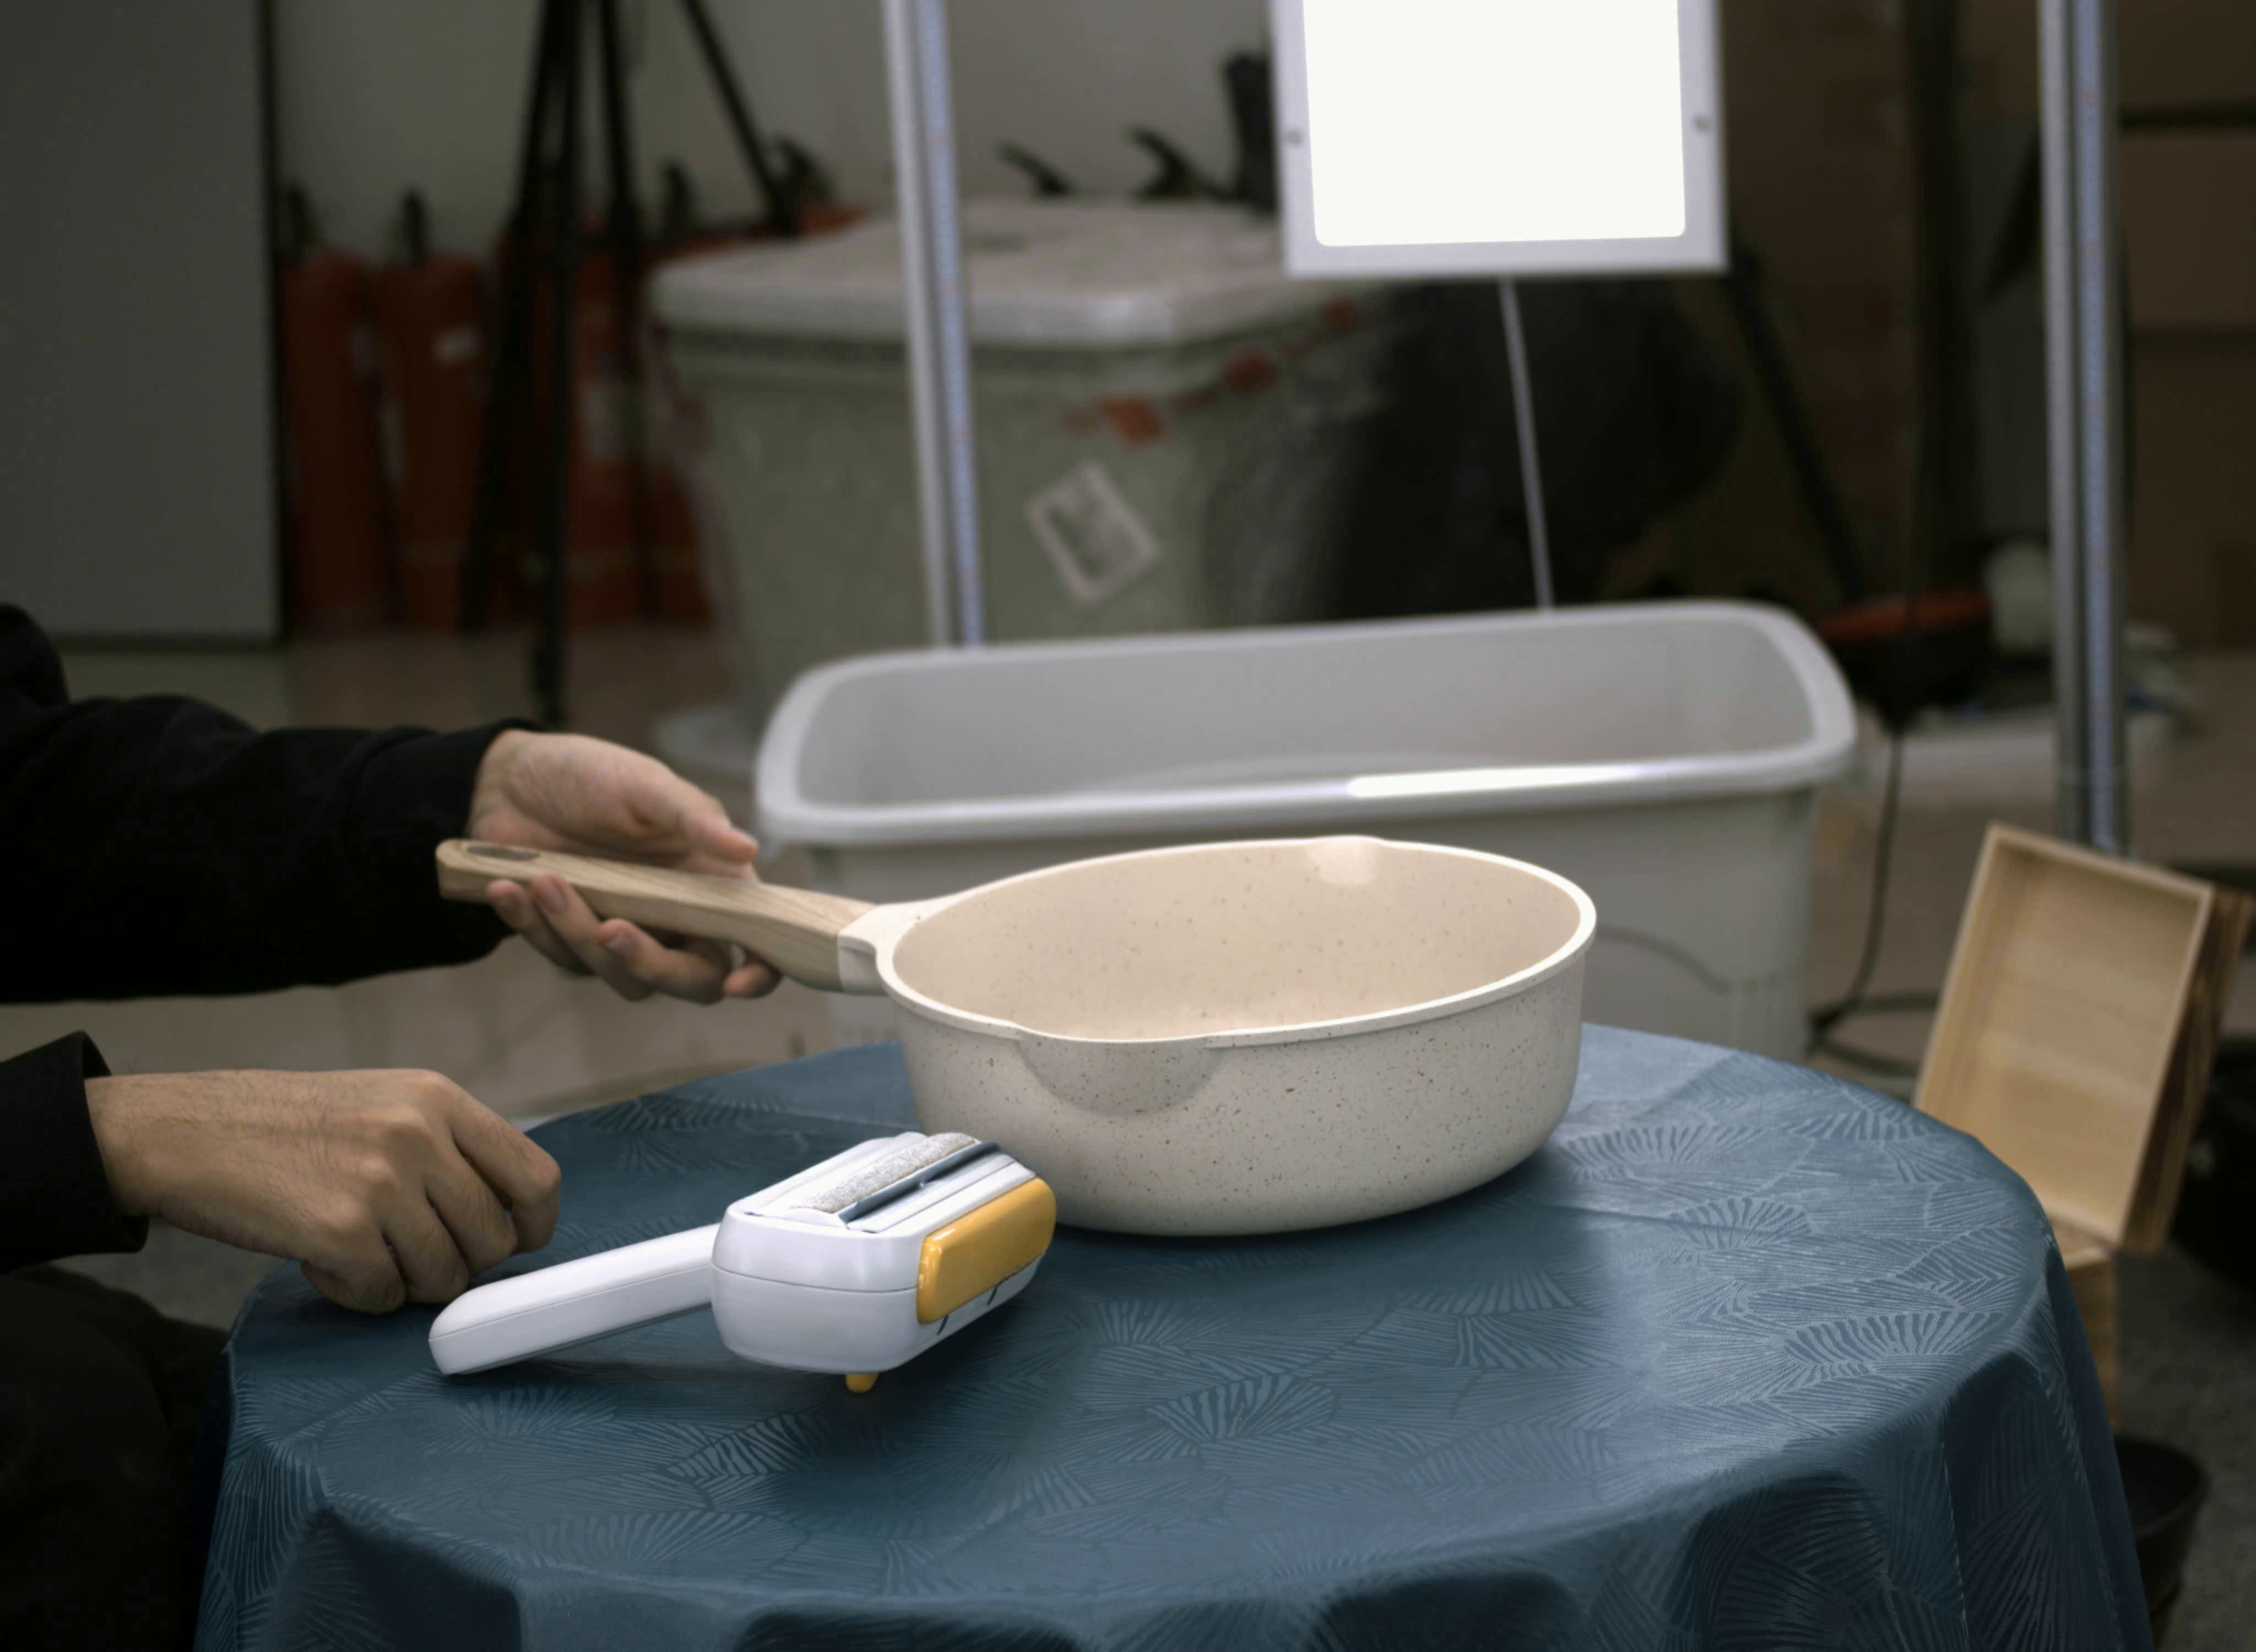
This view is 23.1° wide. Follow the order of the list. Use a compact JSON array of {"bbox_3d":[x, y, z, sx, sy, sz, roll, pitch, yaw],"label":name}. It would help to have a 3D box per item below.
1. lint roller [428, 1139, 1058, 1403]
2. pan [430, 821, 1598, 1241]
[{"bbox_3d":[-0.133,0.142,1.740,0.195,0.074,0.189,-2,8,19],"label":"lint roller"},{"bbox_3d":[-0.045,0.065,1.953,0.441,0.102,0.258,1,18,22],"label":"pan"}]
